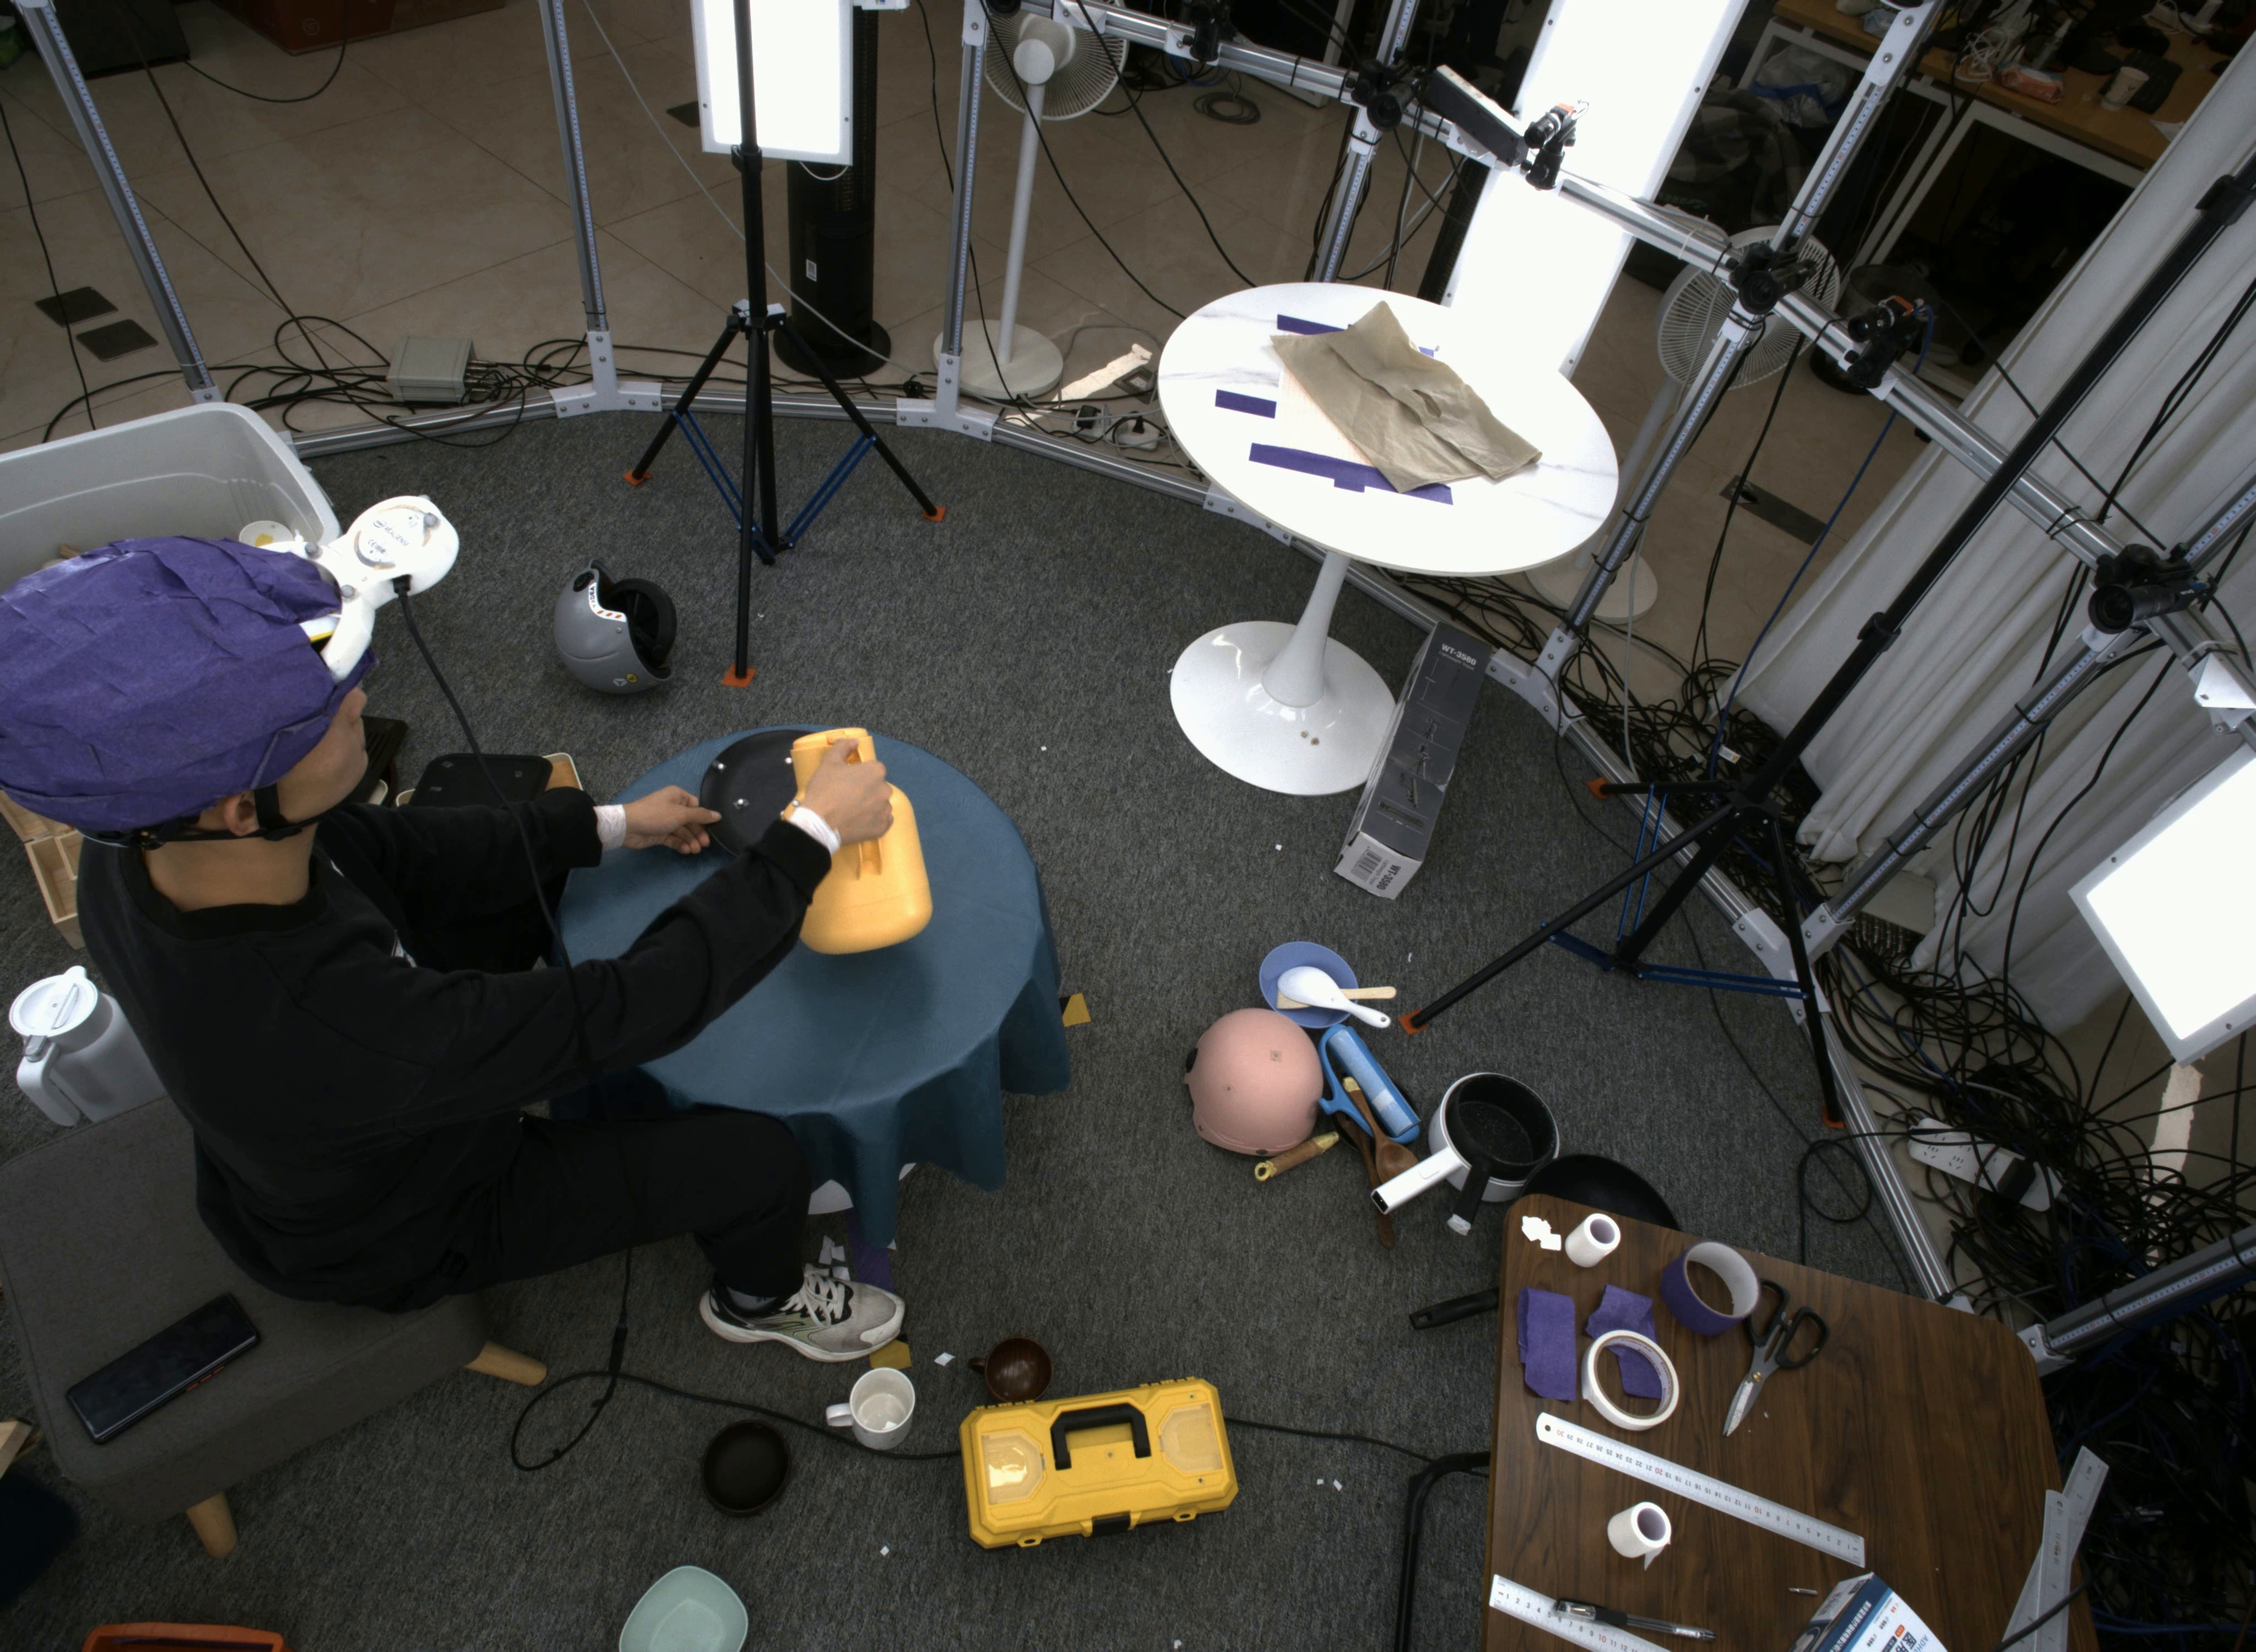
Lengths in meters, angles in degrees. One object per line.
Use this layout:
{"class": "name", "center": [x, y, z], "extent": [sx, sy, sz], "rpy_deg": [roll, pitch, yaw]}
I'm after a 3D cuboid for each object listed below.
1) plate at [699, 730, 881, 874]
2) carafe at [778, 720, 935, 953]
{"class": "plate", "center": [-0.443, -0.032, 1.718], "extent": [0.244, 0.024, 0.240], "rpy_deg": [10, 51, -11]}
{"class": "carafe", "center": [-0.326, 0.009, 1.518], "extent": [0.164, 0.198, 0.265], "rpy_deg": [-16, 96, -19]}
